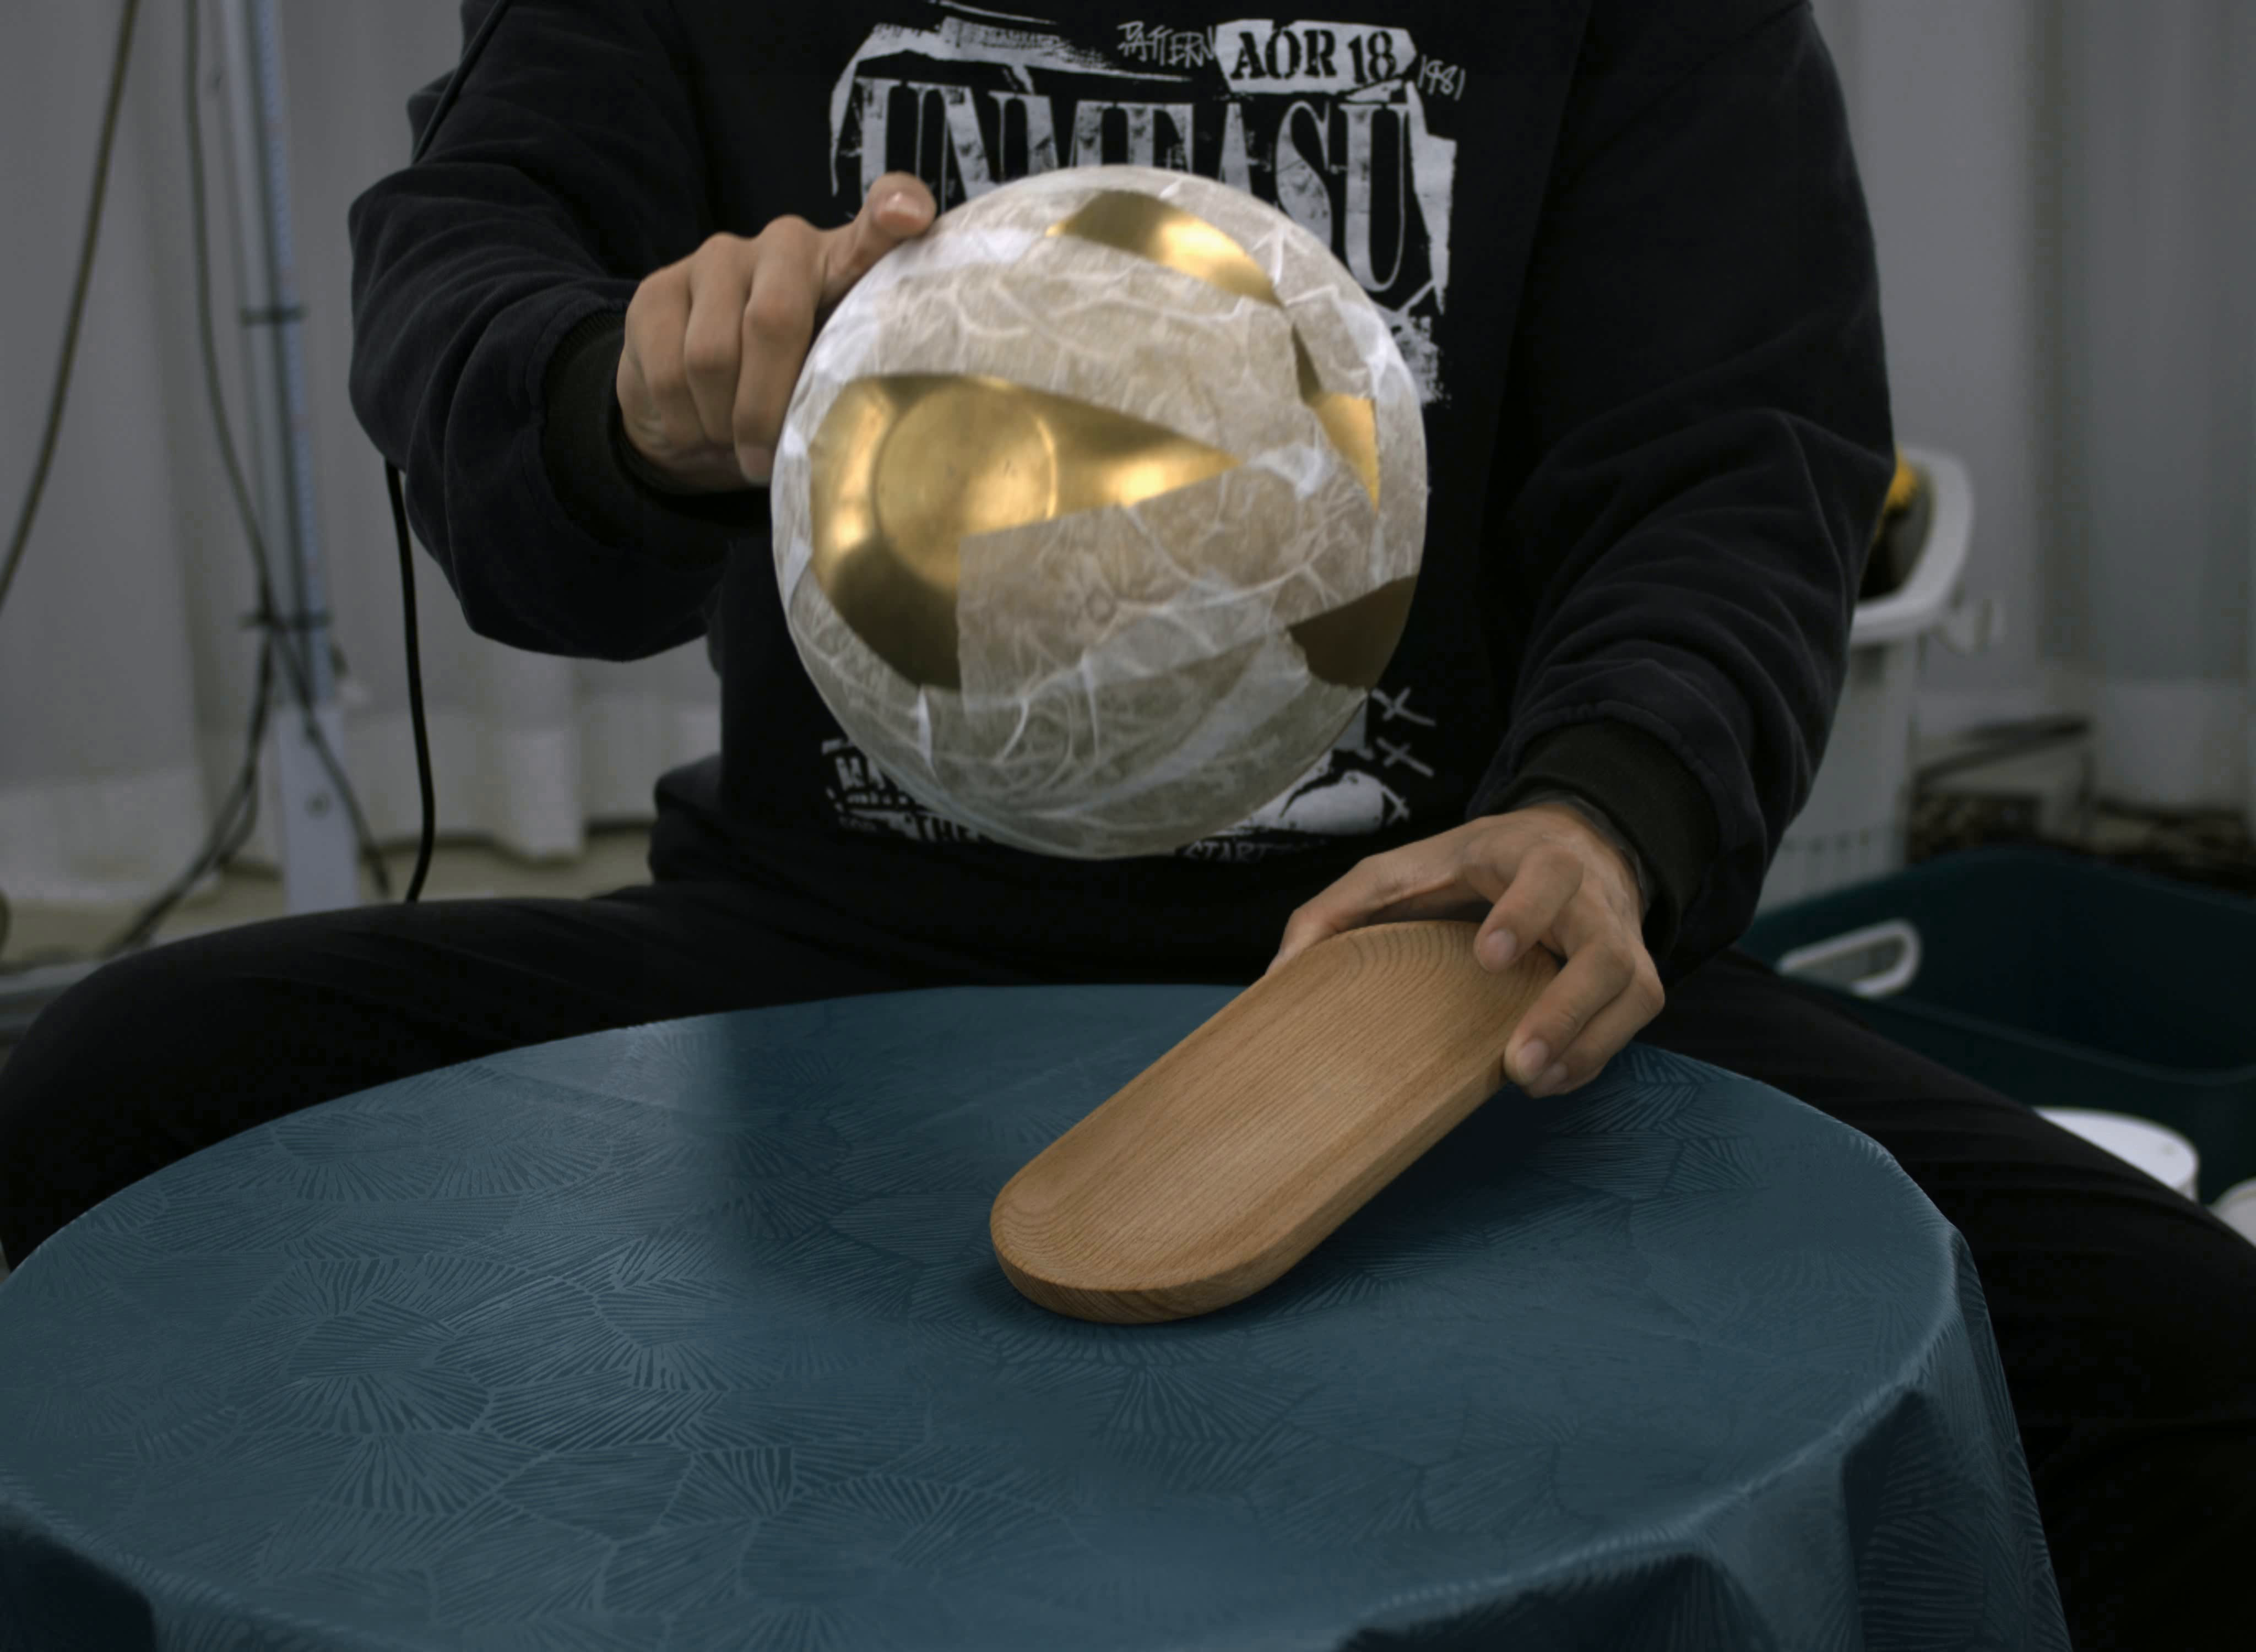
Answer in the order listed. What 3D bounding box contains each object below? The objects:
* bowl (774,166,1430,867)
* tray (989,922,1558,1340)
[{"bbox_3d":[-0.024,-0.087,1.558,0.215,0.215,0.094,6,1,28],"label":"bowl"},{"bbox_3d":[0.047,0.091,1.675,0.102,0.020,0.232,8,34,38],"label":"tray"}]
